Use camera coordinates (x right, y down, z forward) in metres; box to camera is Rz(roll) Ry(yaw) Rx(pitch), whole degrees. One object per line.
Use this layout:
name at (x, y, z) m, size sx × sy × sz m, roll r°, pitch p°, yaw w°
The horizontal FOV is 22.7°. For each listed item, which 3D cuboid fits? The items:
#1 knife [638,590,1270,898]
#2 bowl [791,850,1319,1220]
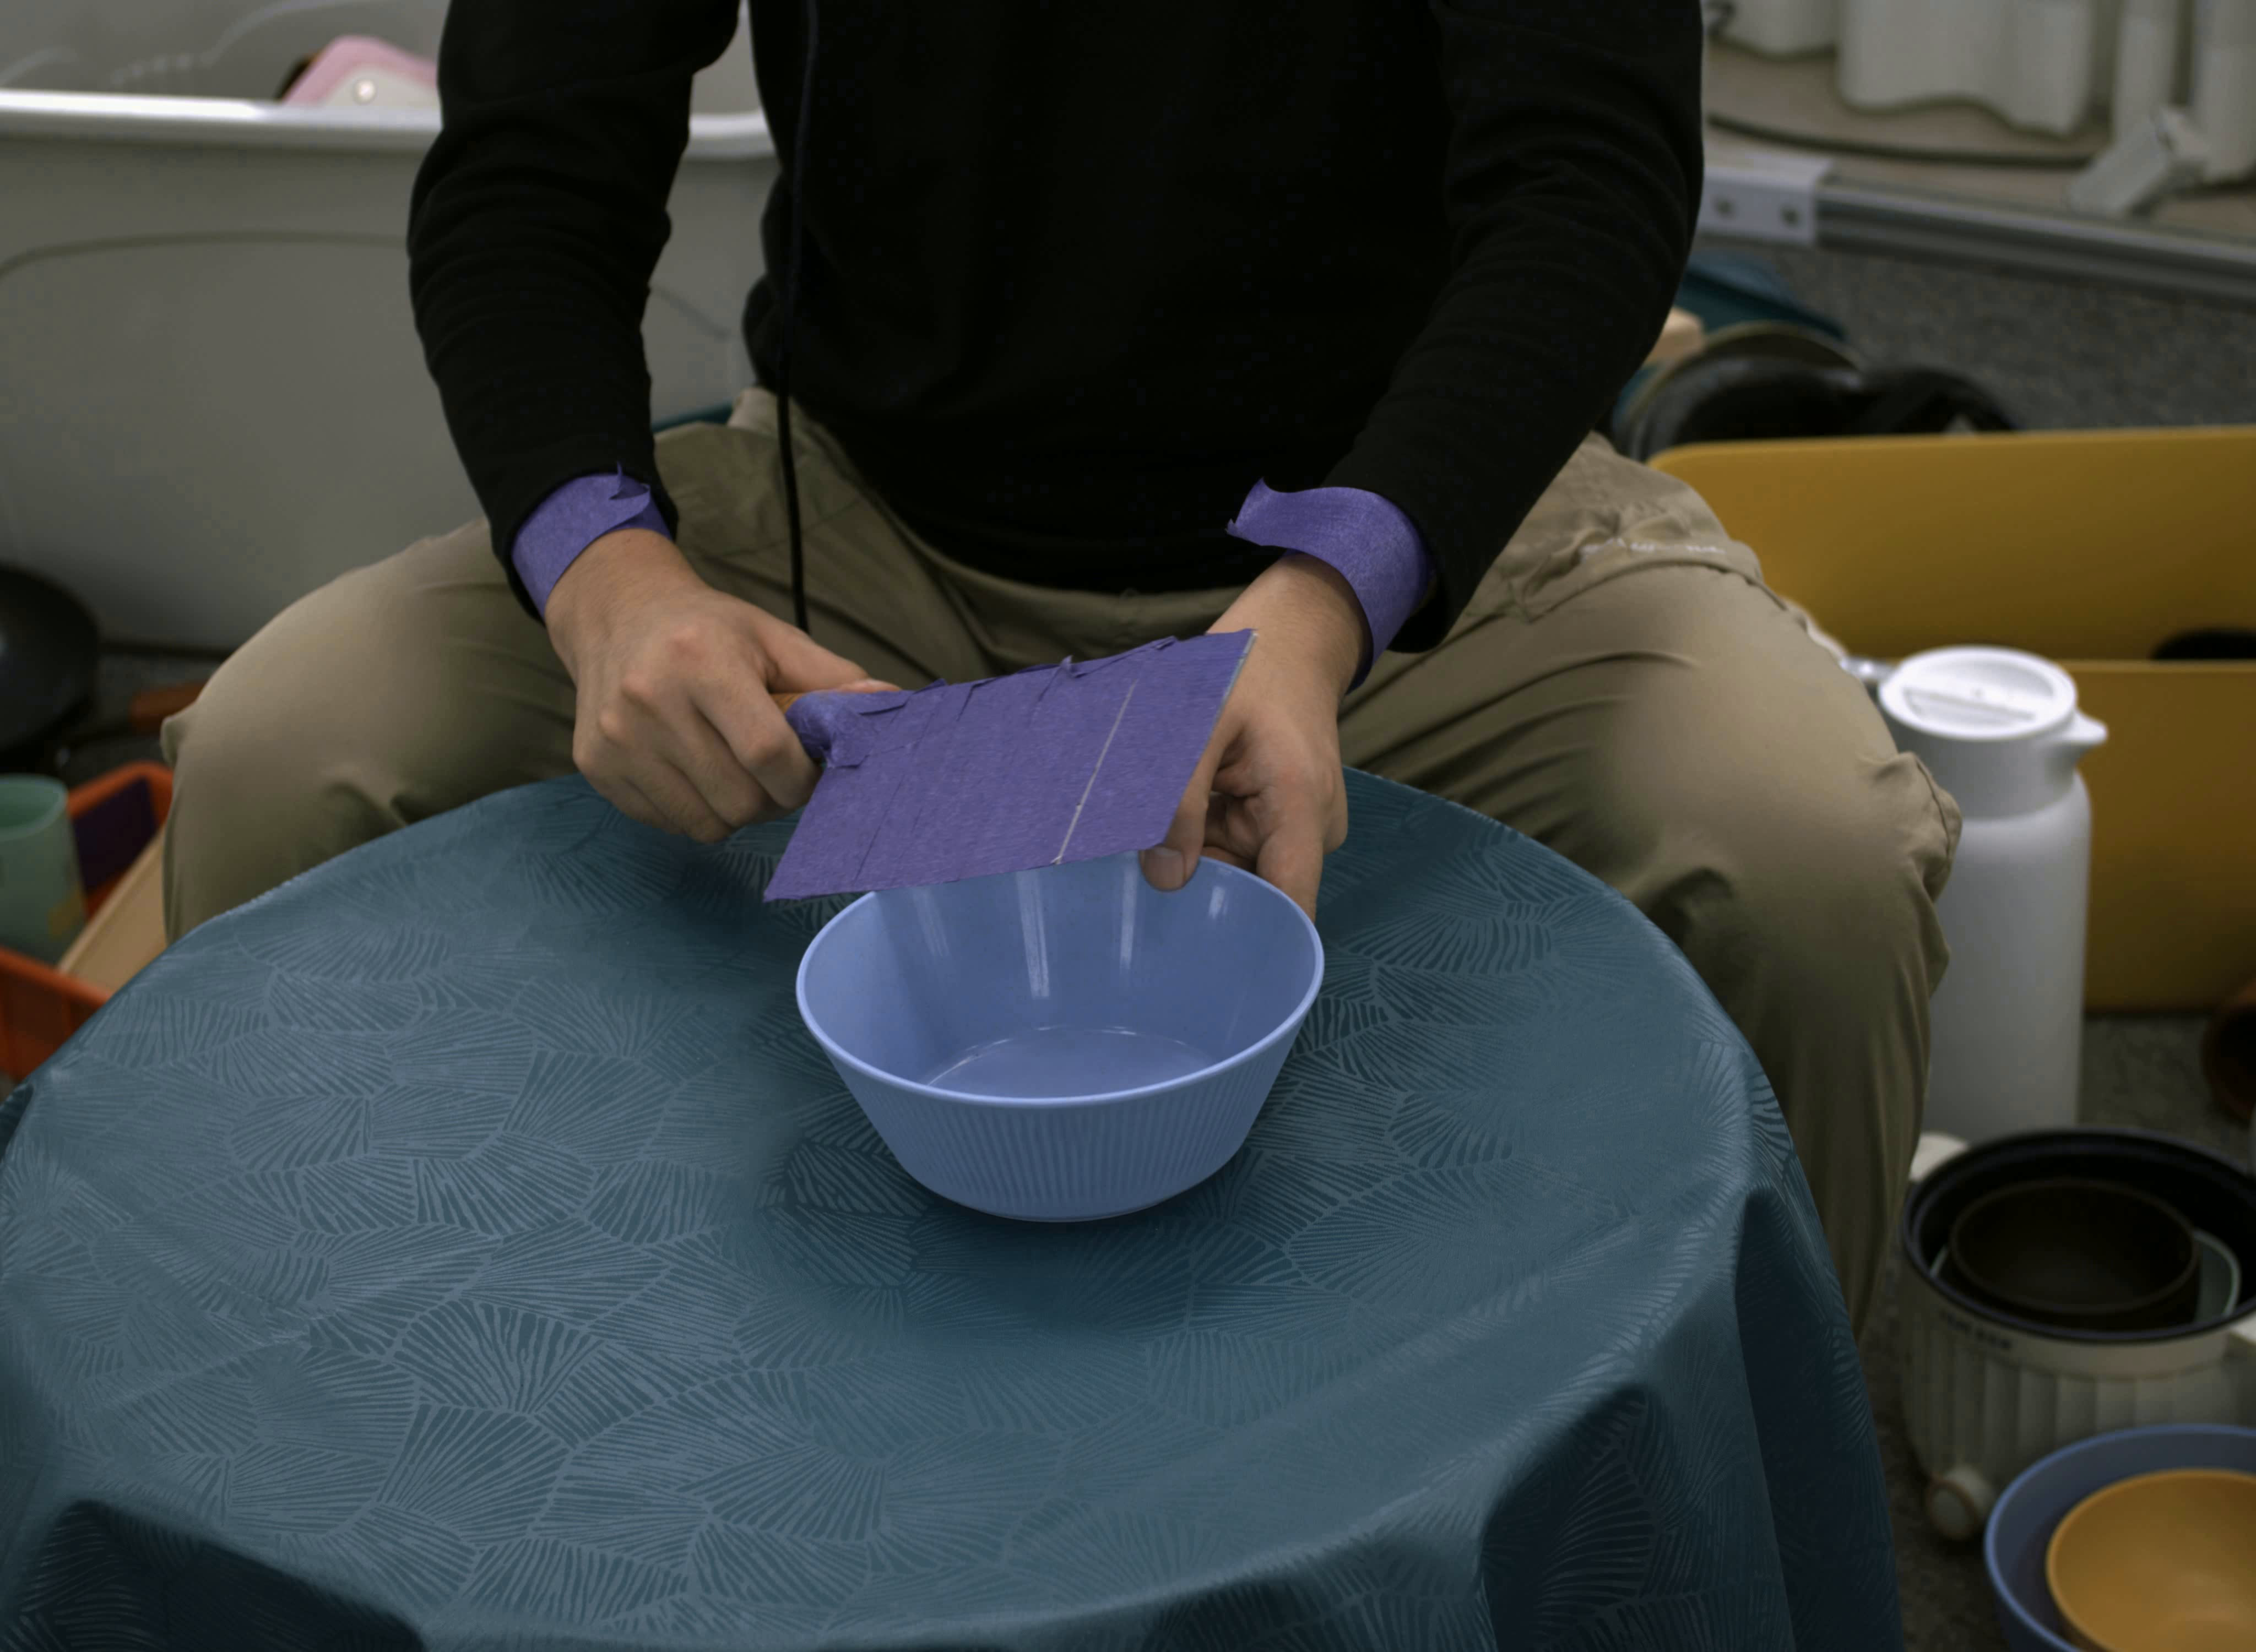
knife at (-0.077, -0.019, 1.945) m, size 0.311 × 0.032 × 0.106 m, roll -12°, pitch 43°, yaw 47°
bowl at (-0.023, 0.075, 1.874) m, size 0.175 × 0.069 × 0.178 m, roll -1°, pitch 26°, yaw 1°
